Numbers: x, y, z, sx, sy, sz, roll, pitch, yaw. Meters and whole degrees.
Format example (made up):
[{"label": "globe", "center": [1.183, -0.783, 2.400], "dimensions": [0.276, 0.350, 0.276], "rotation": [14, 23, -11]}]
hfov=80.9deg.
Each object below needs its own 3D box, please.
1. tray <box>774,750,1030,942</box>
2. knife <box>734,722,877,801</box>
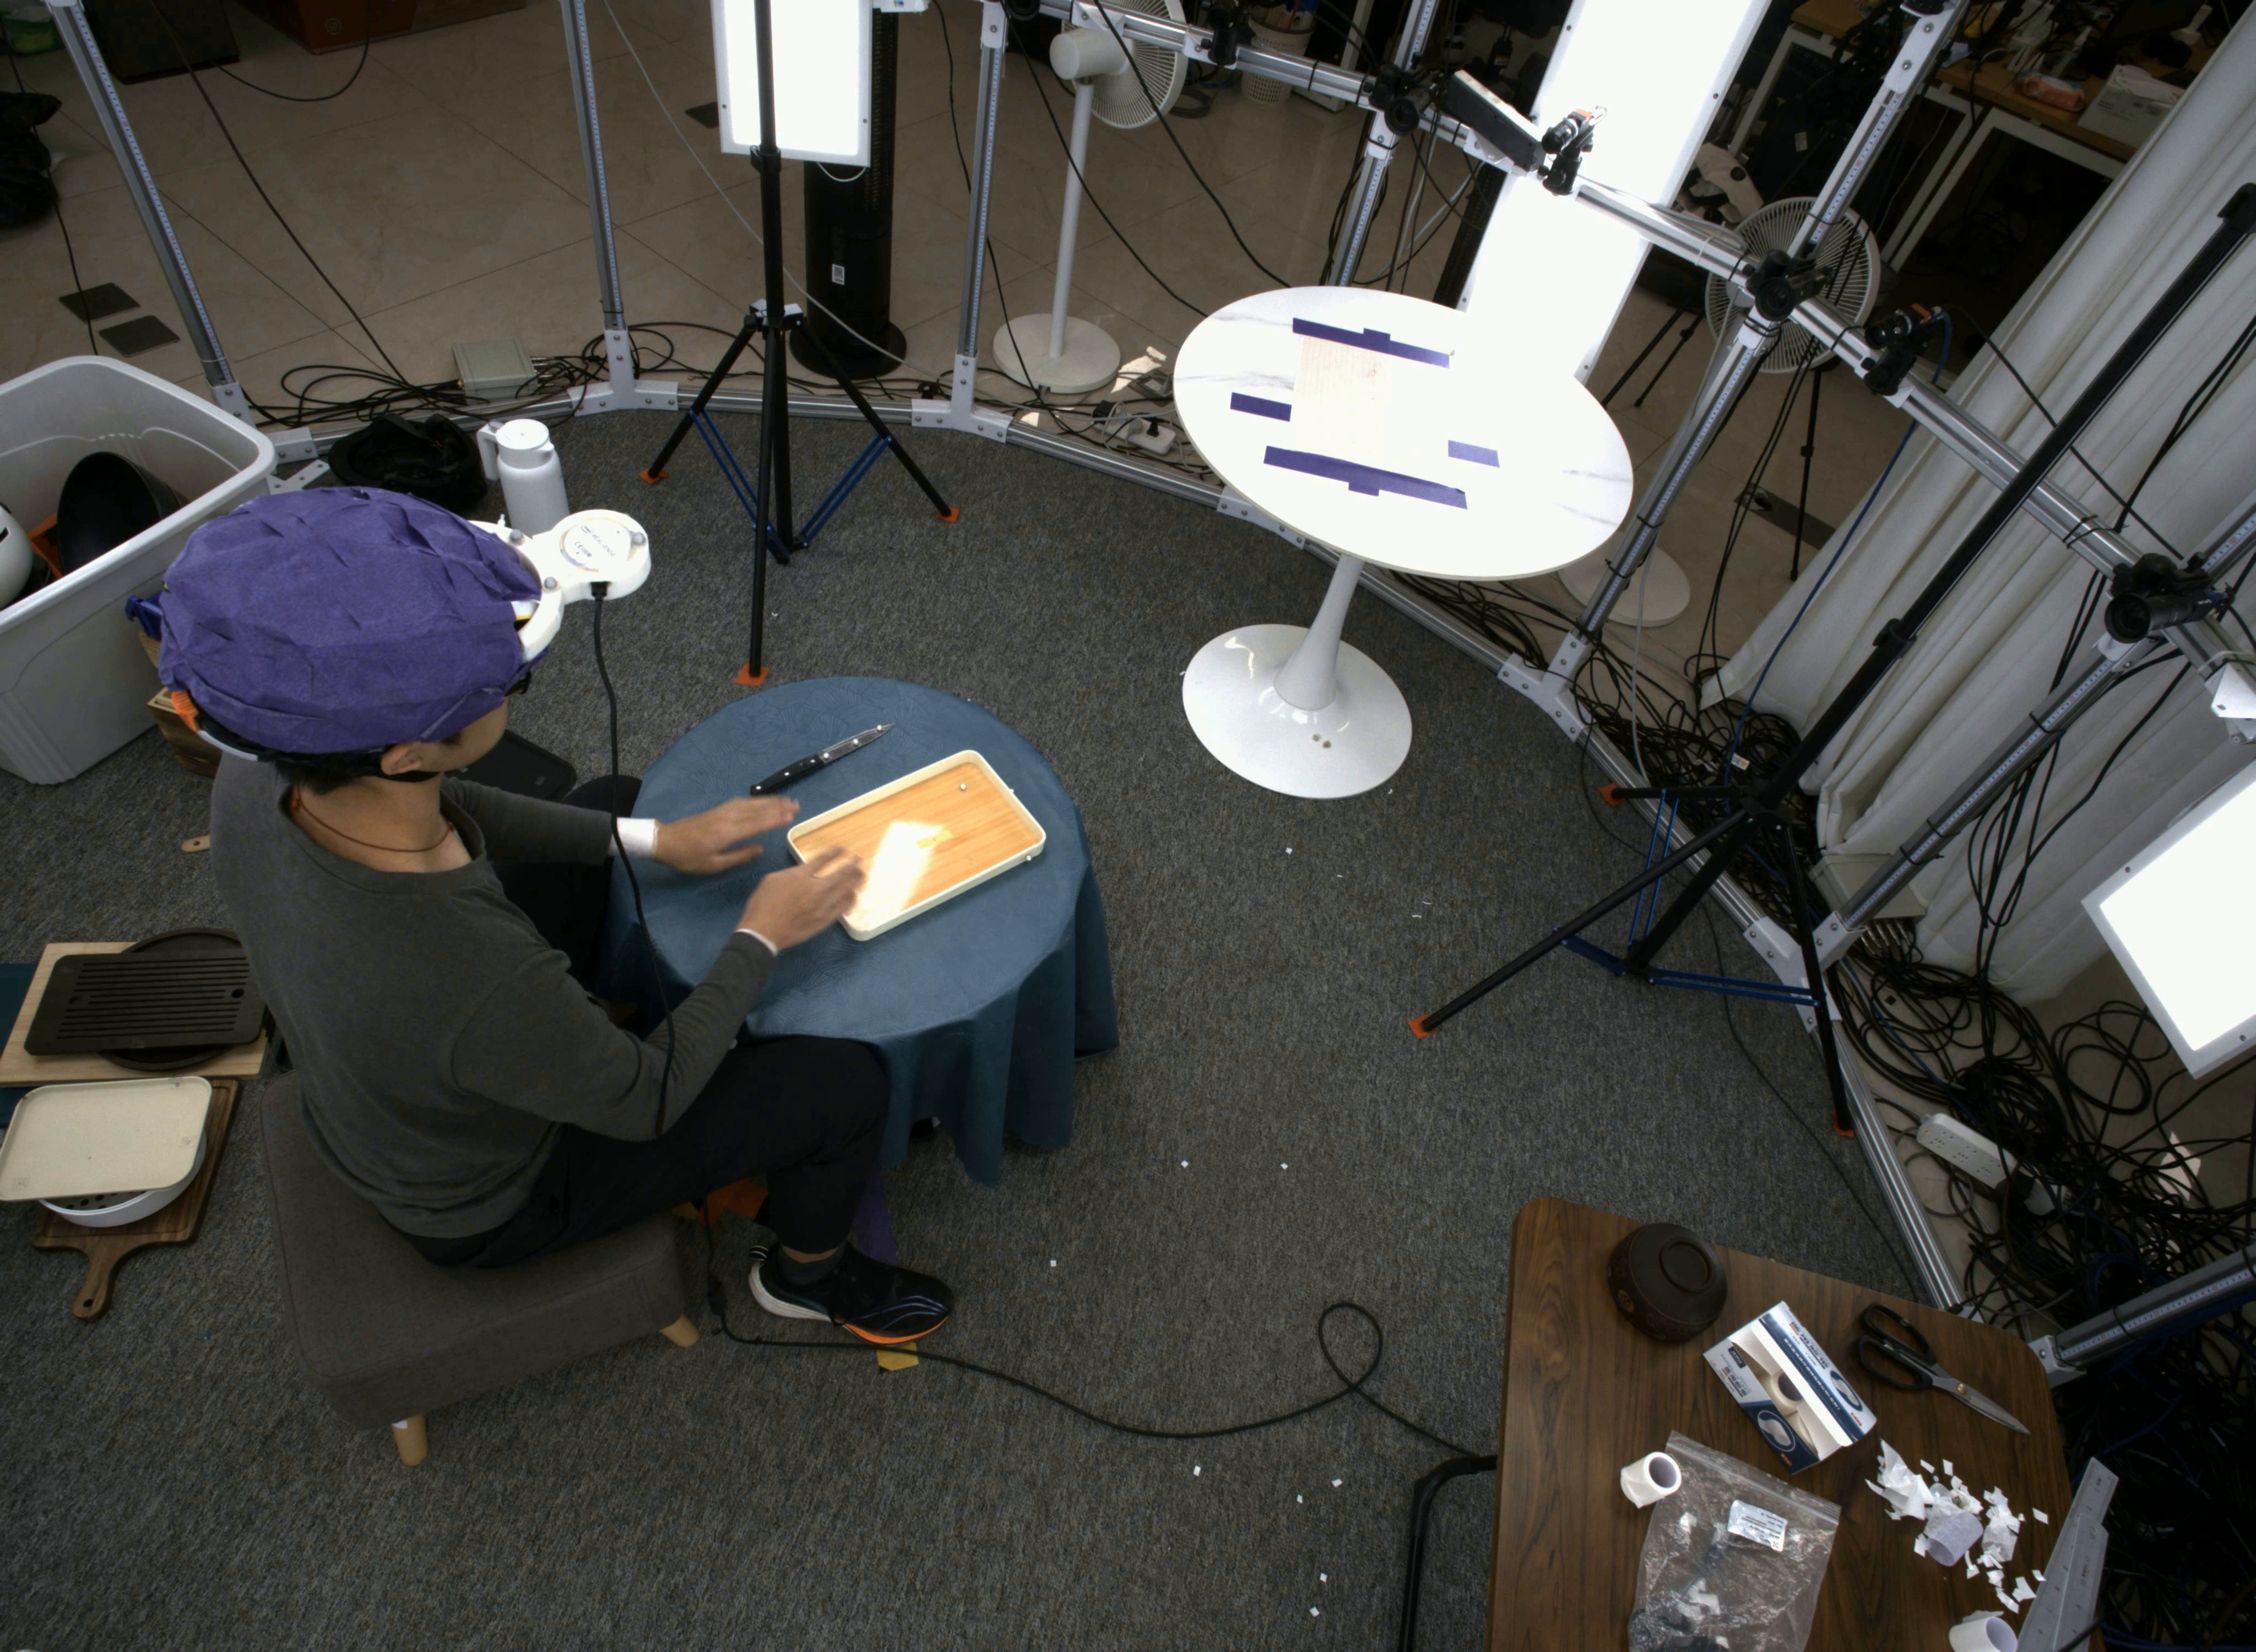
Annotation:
[{"label": "tray", "center": [-0.299, 0.019, 1.736], "dimensions": [0.301, 0.028, 0.187], "rotation": [-28, 64, -30]}, {"label": "knife", "center": [-0.440, -0.092, 1.792], "dimensions": [0.024, 0.016, 0.239], "rotation": [44, 53, 17]}]
